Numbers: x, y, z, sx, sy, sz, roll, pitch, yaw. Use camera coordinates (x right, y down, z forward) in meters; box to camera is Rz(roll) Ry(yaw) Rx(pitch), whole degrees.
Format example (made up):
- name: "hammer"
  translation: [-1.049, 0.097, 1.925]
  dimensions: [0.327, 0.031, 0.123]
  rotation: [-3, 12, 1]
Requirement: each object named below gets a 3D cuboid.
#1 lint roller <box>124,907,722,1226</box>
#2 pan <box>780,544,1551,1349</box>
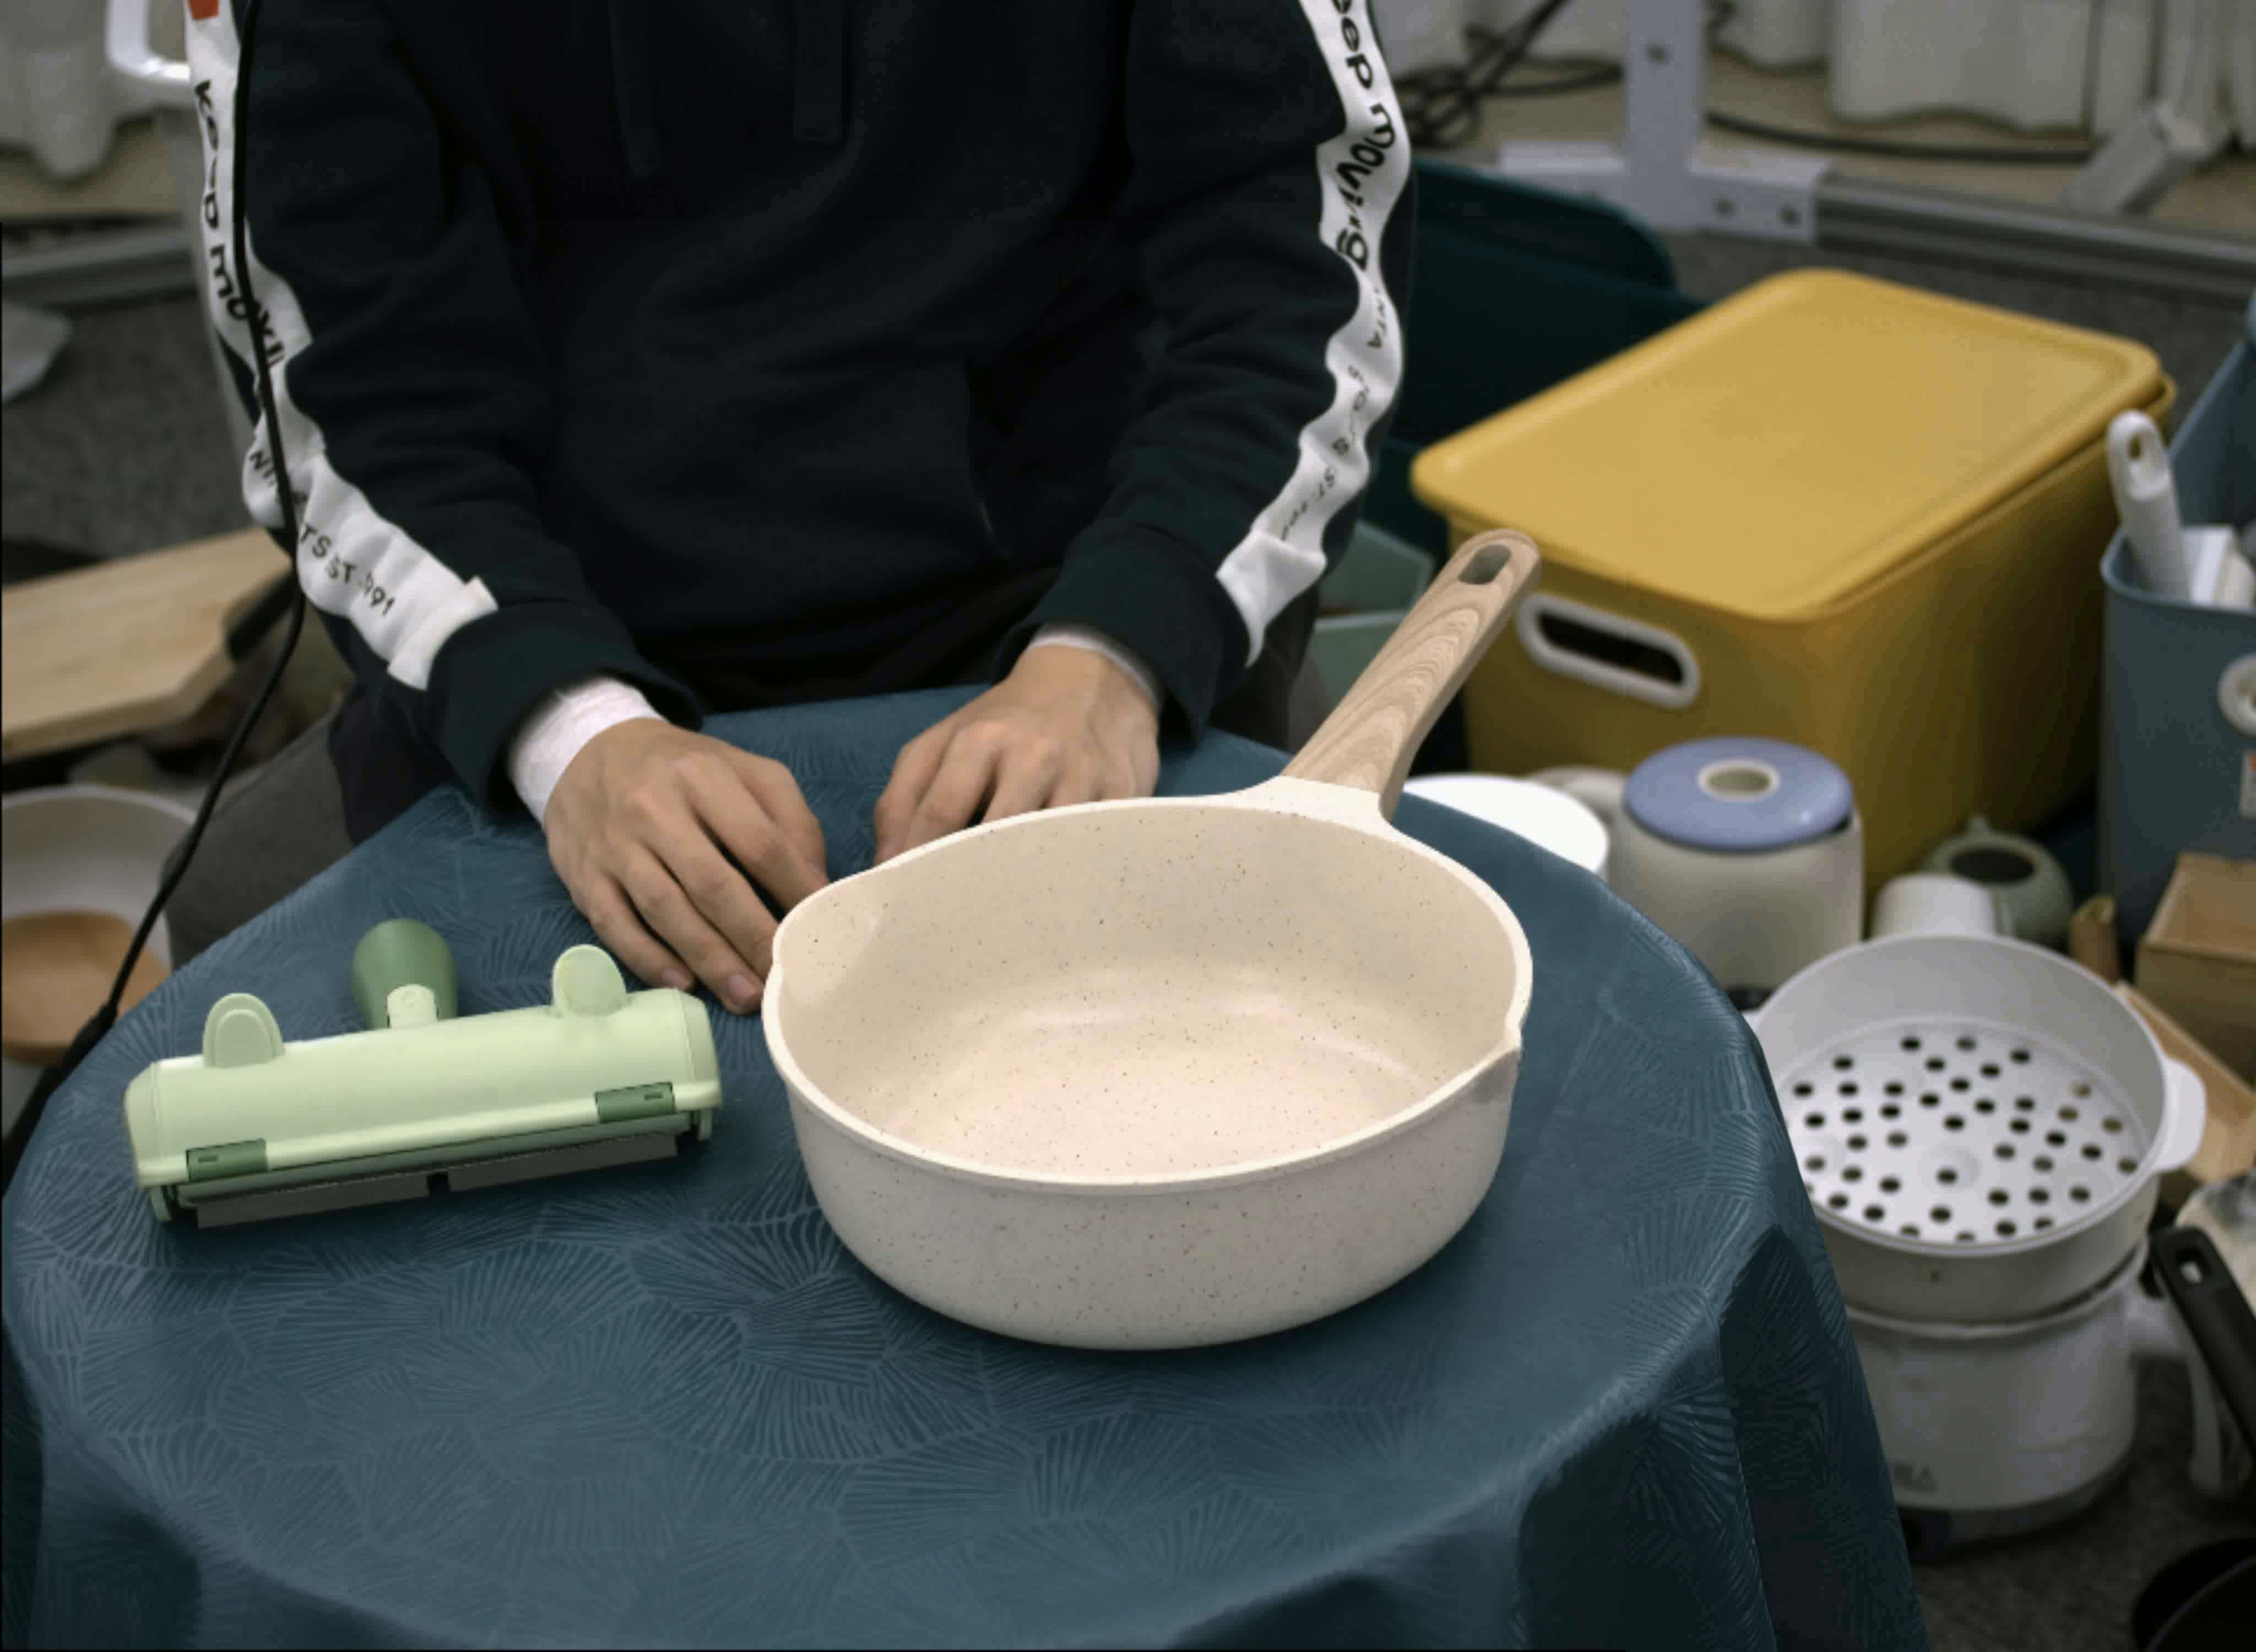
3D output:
- name: "lint roller"
  translation: [-0.247, 0.058, 1.924]
  dimensions: [0.198, 0.081, 0.186]
  rotation: [-8, 33, -9]
- name: "pan"
  translation: [0.052, 0.038, 1.910]
  dimensions: [0.261, 0.101, 0.442]
  rotation: [8, 29, 24]
